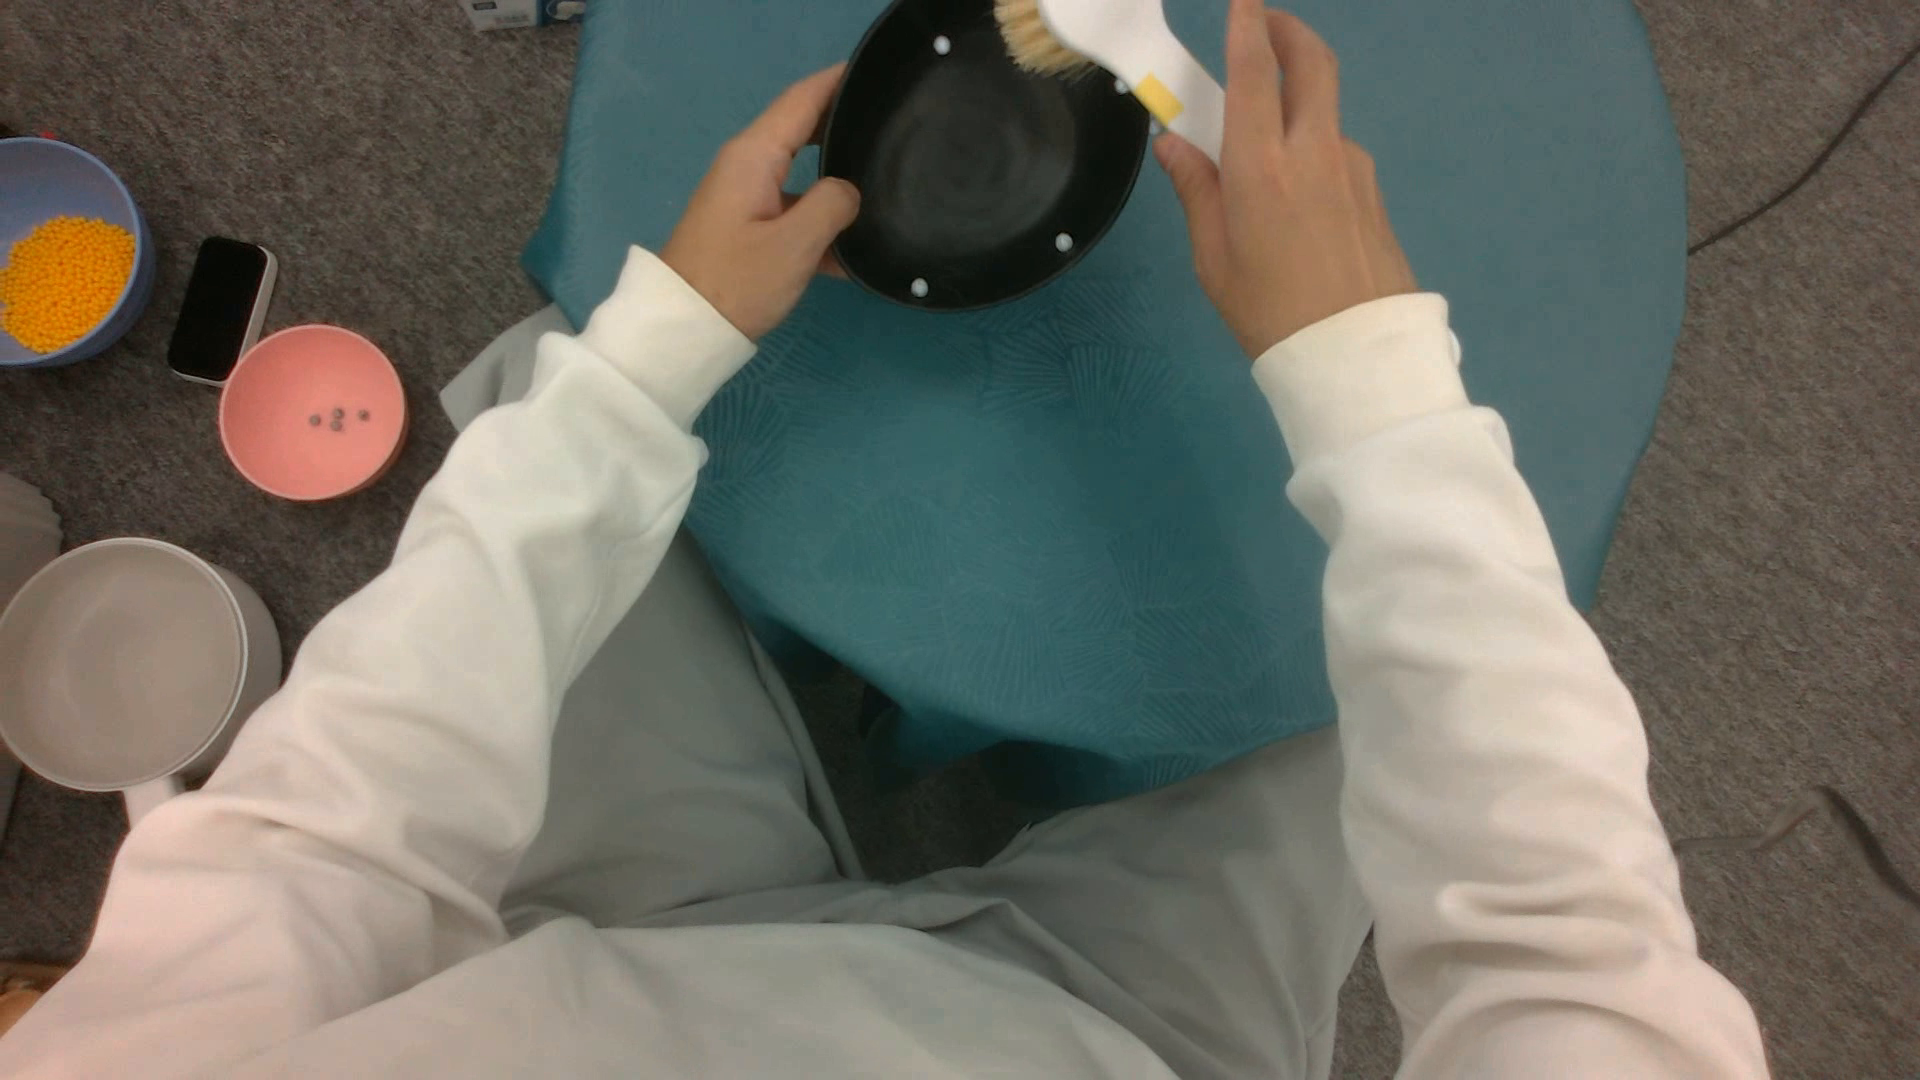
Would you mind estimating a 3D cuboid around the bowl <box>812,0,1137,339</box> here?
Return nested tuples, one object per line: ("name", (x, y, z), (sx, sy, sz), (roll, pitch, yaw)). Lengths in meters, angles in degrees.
("bowl", (0.004, -0.173, 0.659), (0.137, 0.067, 0.170), (38, 92, -13))

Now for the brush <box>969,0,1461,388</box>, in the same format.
("brush", (0.114, -0.157, 0.617), (0.266, 0.056, 0.068), (41, 80, -8))
